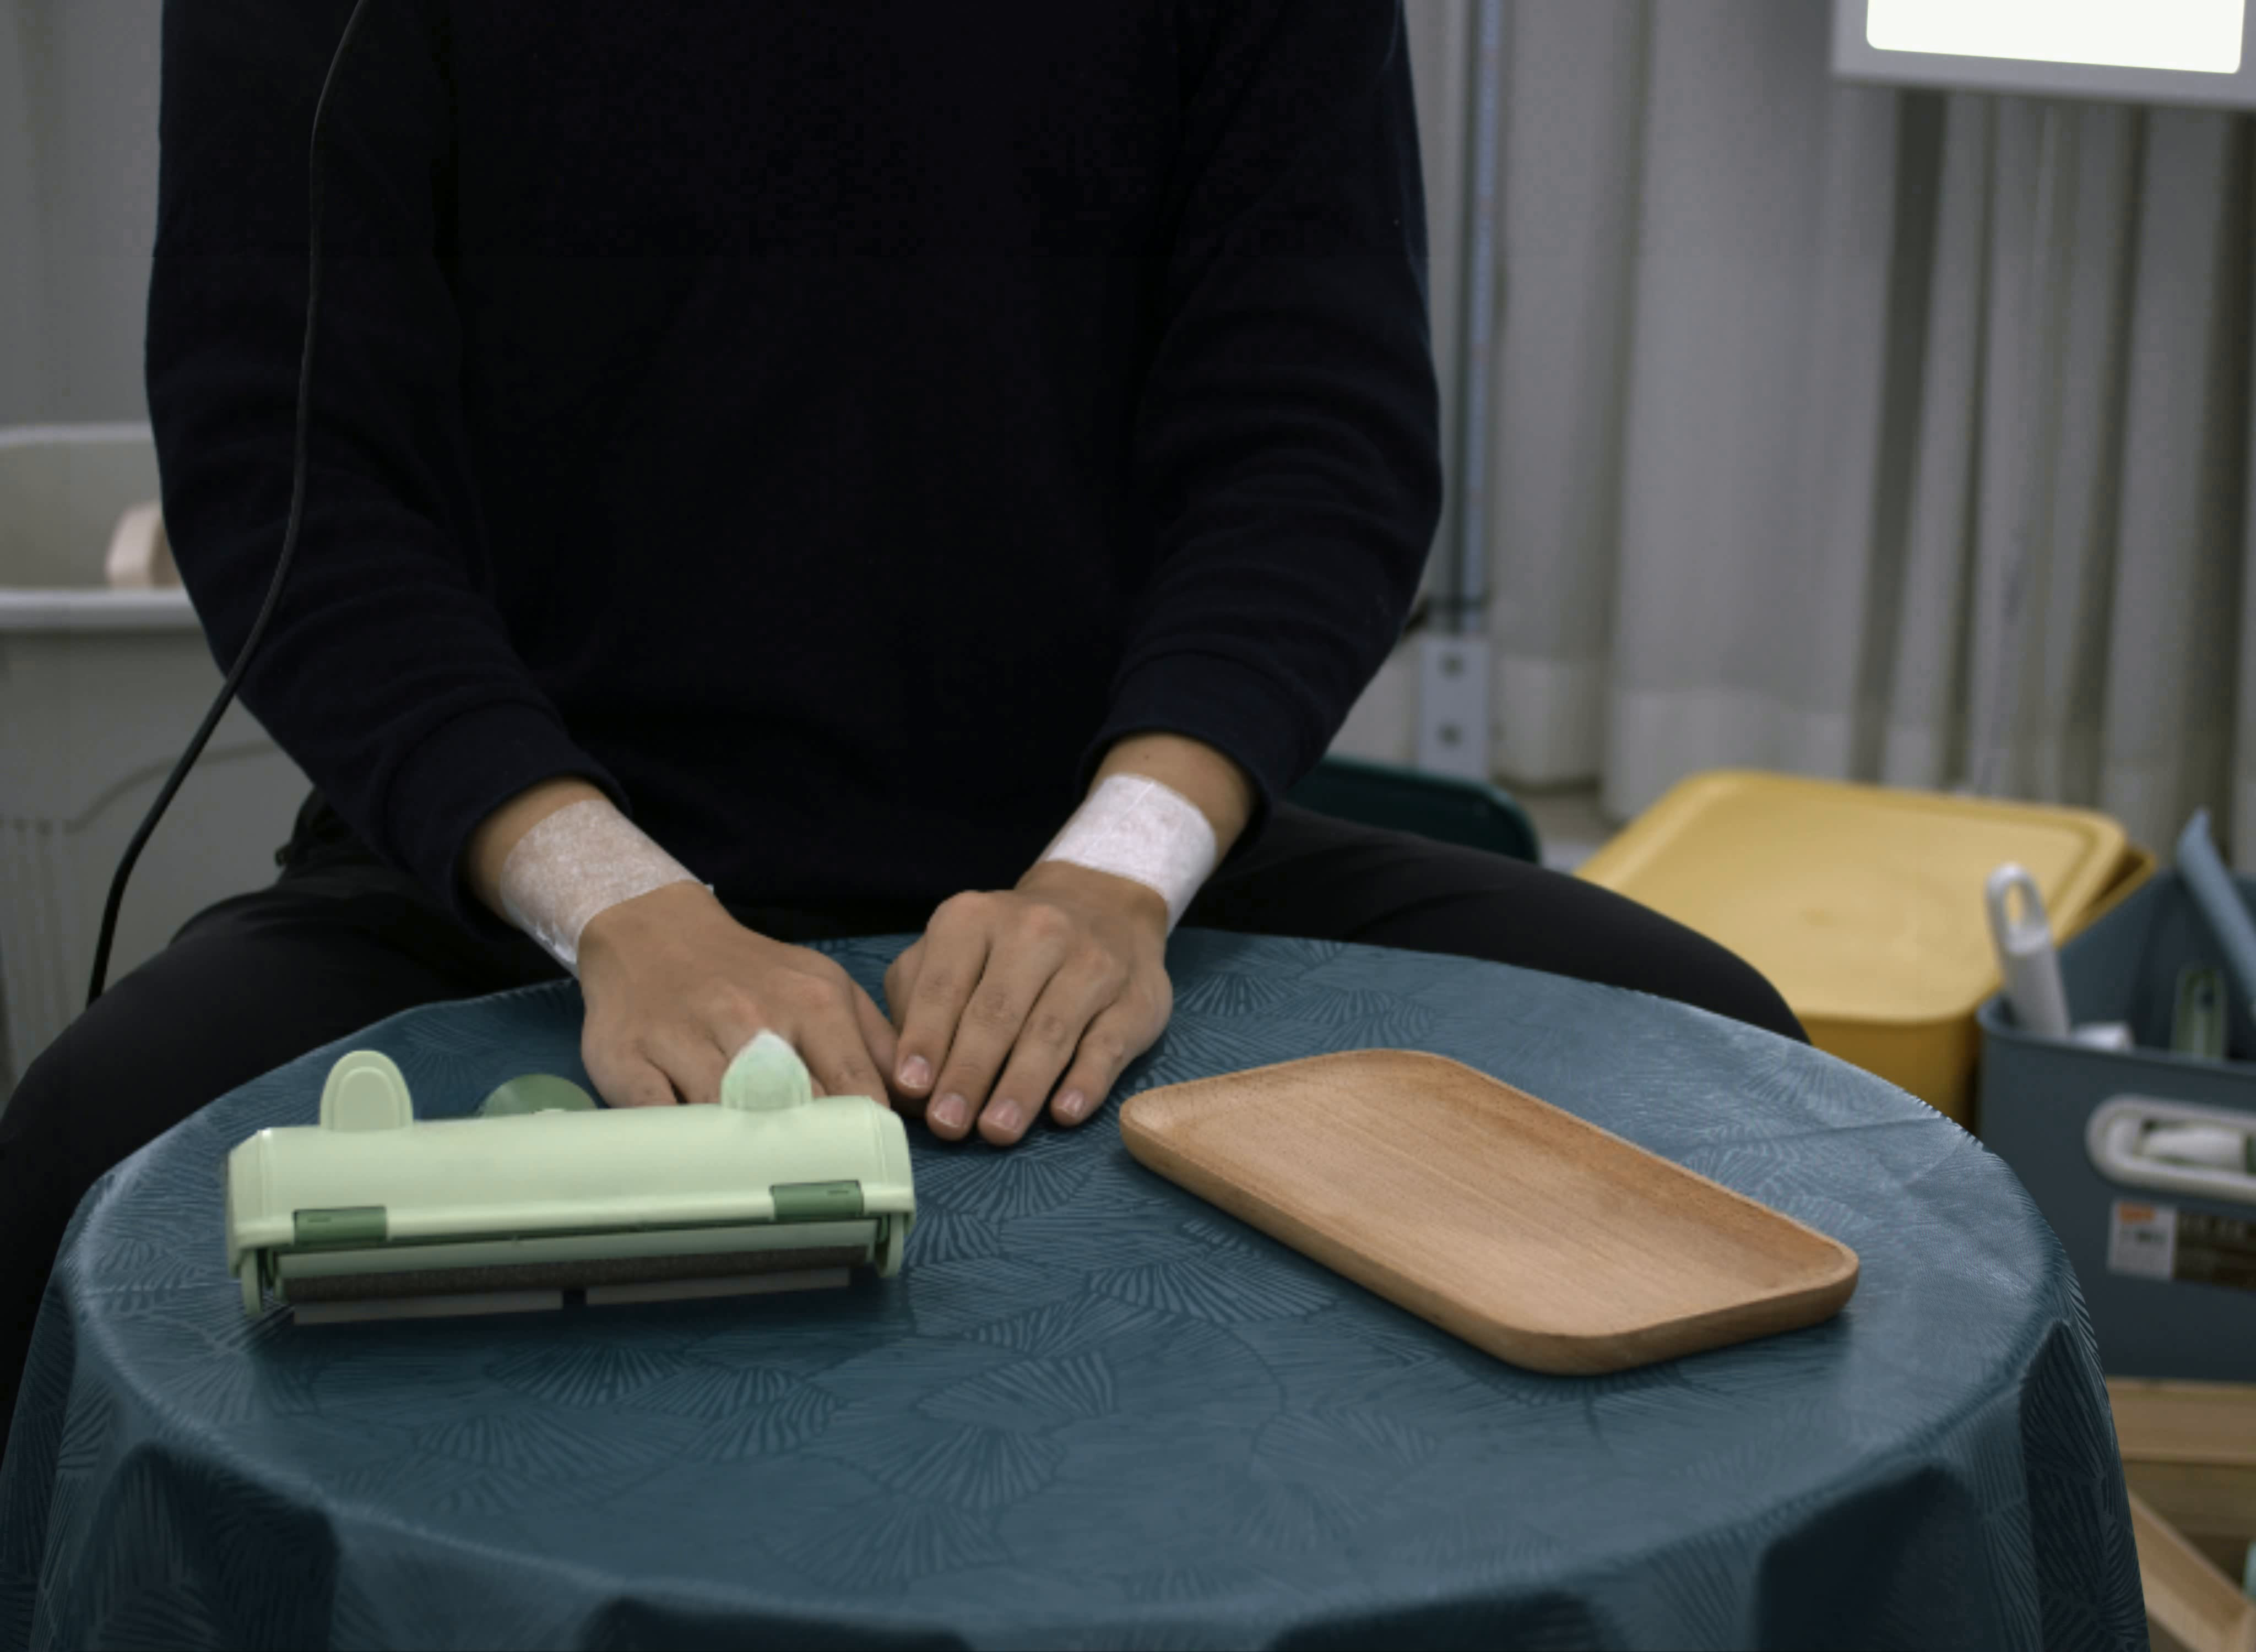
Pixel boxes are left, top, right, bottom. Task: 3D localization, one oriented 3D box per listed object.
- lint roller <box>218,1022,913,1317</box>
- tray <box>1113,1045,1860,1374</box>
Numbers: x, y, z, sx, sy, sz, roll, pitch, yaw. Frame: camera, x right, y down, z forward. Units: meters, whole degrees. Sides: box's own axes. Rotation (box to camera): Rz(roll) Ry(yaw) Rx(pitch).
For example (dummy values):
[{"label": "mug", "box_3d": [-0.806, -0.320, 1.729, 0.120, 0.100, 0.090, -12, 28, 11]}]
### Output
[{"label": "lint roller", "box_3d": [-0.172, 0.081, 1.565, 0.199, 0.083, 0.181, -2, 22, -12]}, {"label": "tray", "box_3d": [0.104, 0.113, 1.592, 0.131, 0.023, 0.247, -7, 16, -31]}]
